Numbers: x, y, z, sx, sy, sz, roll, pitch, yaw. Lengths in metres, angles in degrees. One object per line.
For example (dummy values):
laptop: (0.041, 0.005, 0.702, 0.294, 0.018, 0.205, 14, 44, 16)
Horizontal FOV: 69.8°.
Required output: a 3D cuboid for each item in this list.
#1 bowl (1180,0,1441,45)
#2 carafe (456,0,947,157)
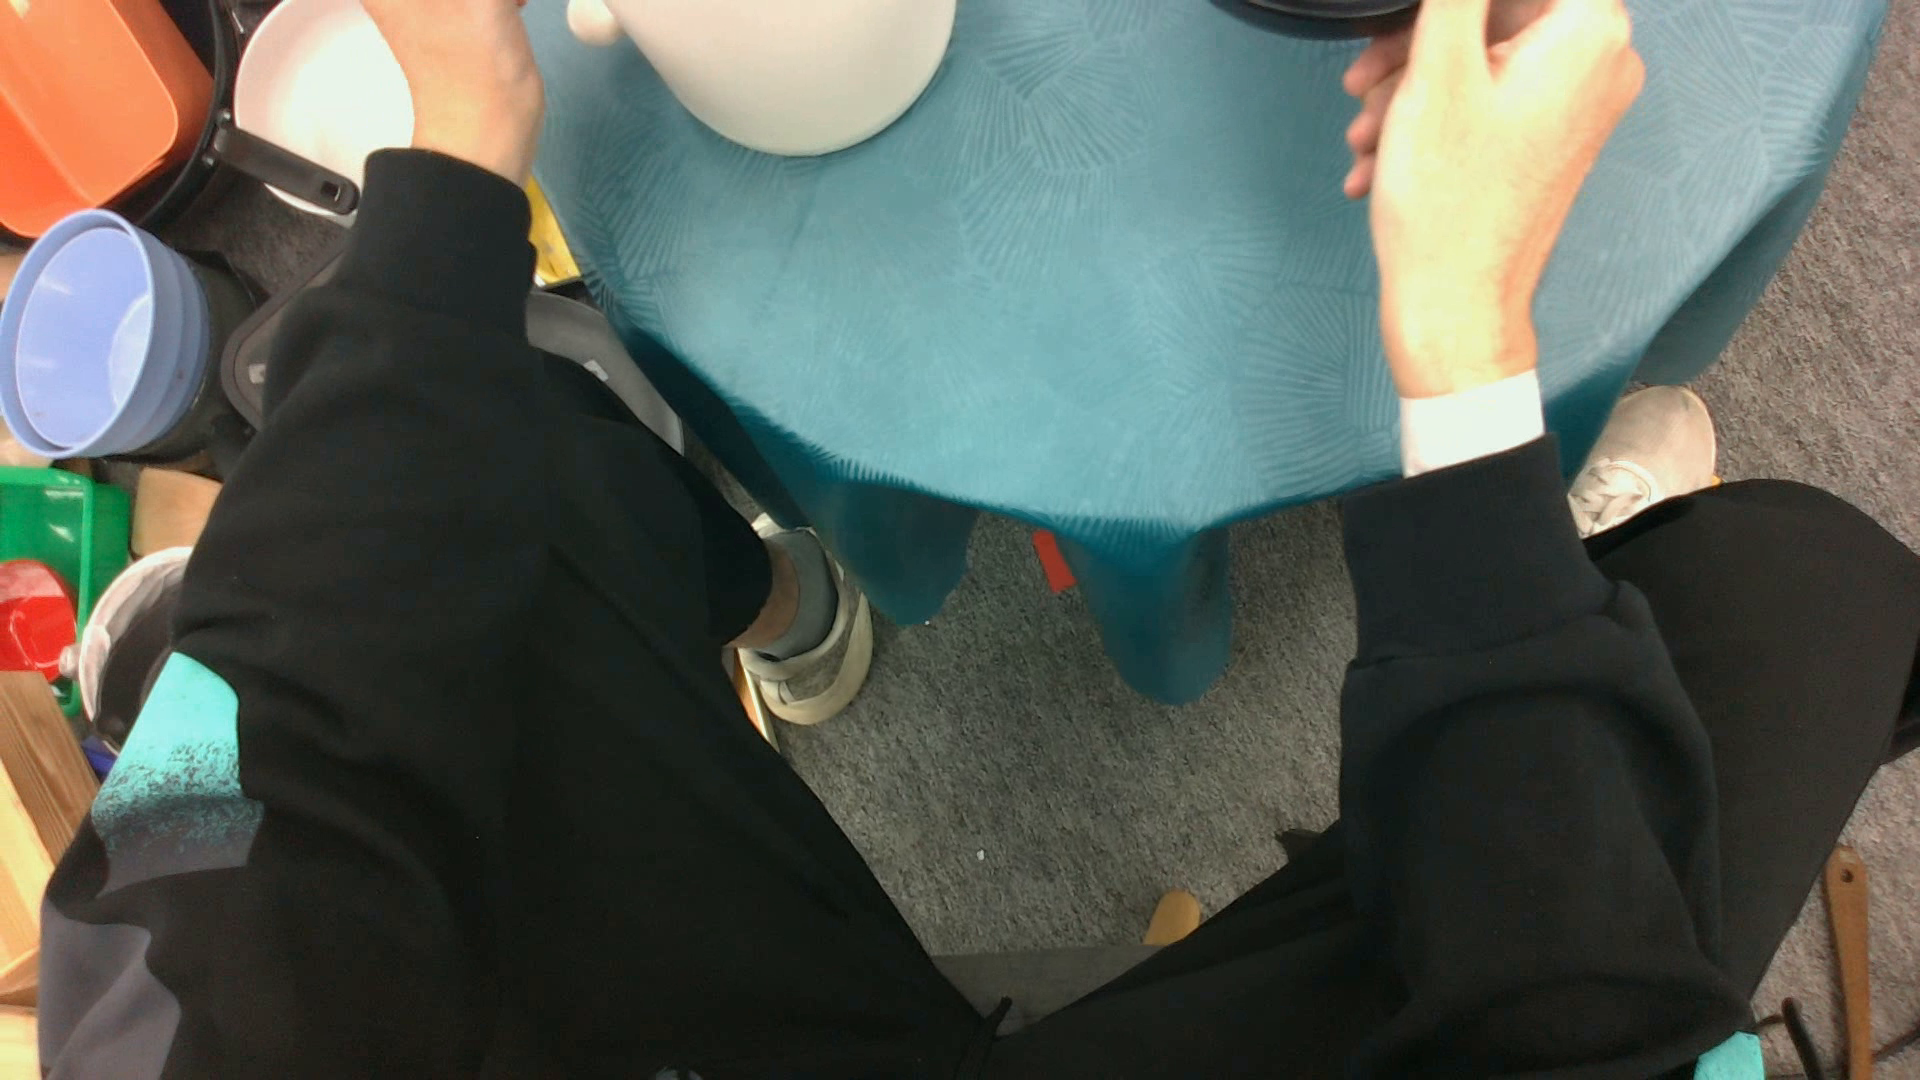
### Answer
bowl: (0.120, -0.228, 0.472, 0.140, 0.050, 0.140, -1, 81, 6)
carafe: (-0.104, -0.228, 0.507, 0.191, 0.182, 0.132, -10, 82, 8)
